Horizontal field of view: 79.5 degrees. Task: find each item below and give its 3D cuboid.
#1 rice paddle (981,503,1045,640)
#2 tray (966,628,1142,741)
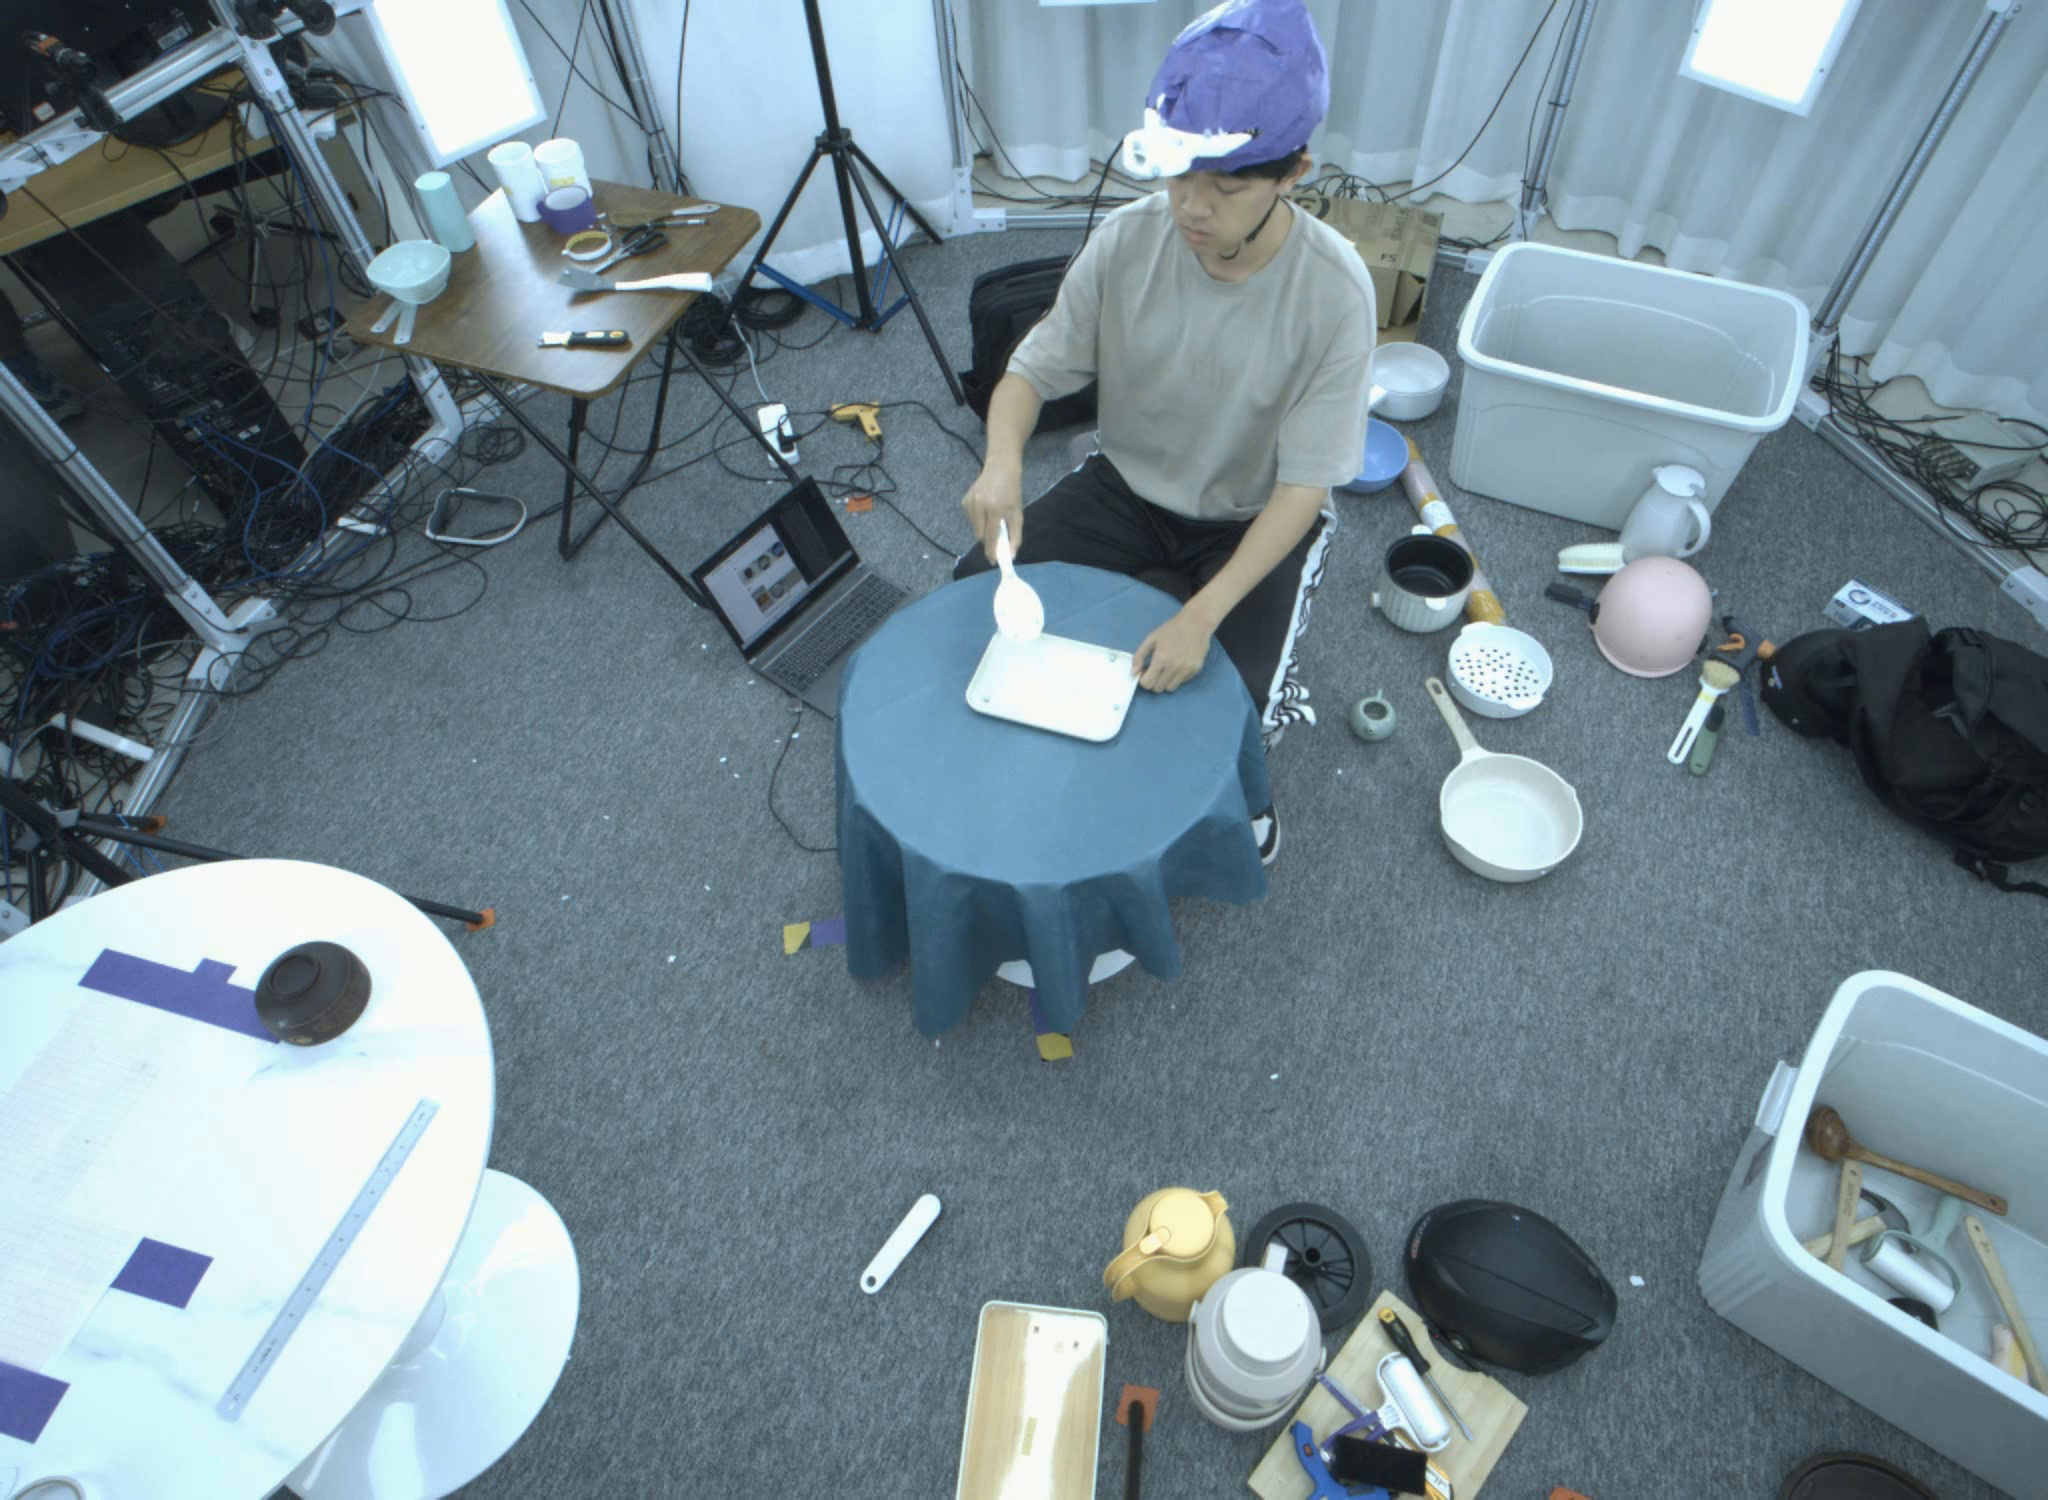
[{"bbox_3d":[-0.021,-0.255,1.758,0.069,0.029,0.204,-15,83,-8],"label":"rice paddle"},{"bbox_3d":[0.045,-0.100,1.843,0.237,0.017,0.171,15,57,12],"label":"tray"}]
